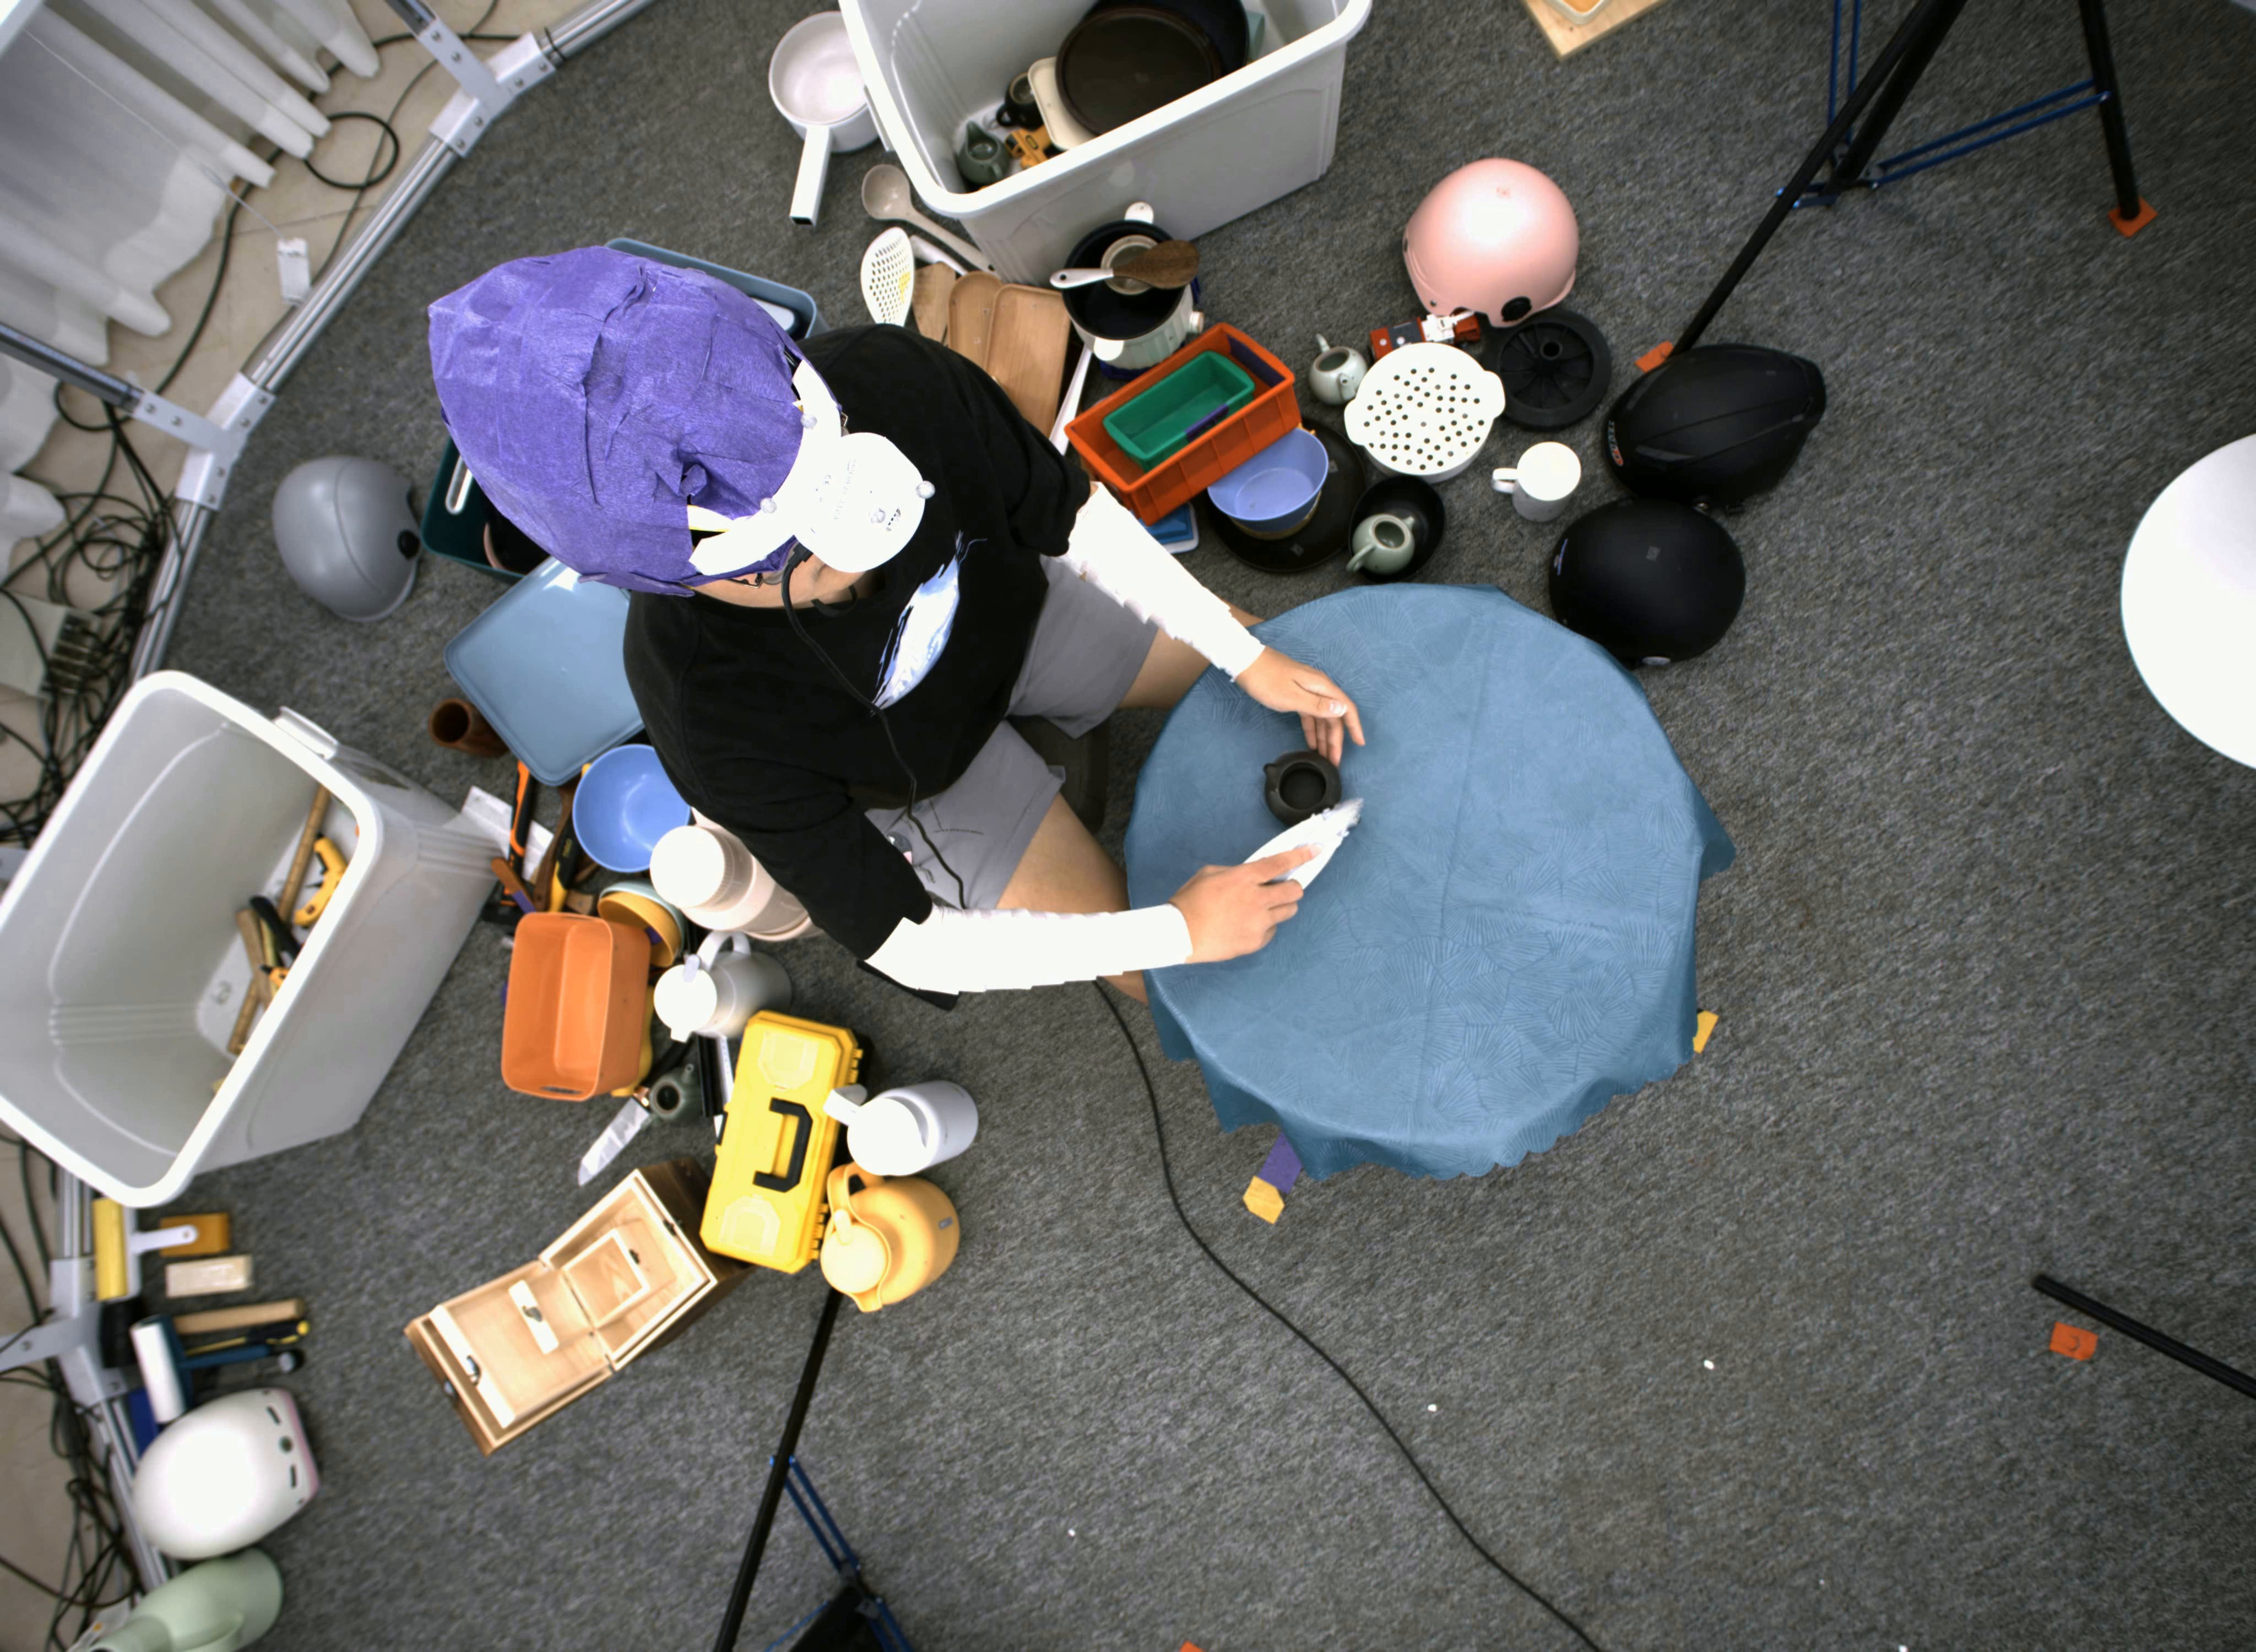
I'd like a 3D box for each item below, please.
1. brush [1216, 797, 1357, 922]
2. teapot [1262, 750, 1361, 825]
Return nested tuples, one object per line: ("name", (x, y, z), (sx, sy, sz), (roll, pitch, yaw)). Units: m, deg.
("brush", (0.163, 0.034, 1.404), (0.178, 0.093, 0.061), (-41, 93, 19))
("teapot", (0.194, -0.034, 1.453), (0.114, 0.053, 0.083), (31, 92, 13))
